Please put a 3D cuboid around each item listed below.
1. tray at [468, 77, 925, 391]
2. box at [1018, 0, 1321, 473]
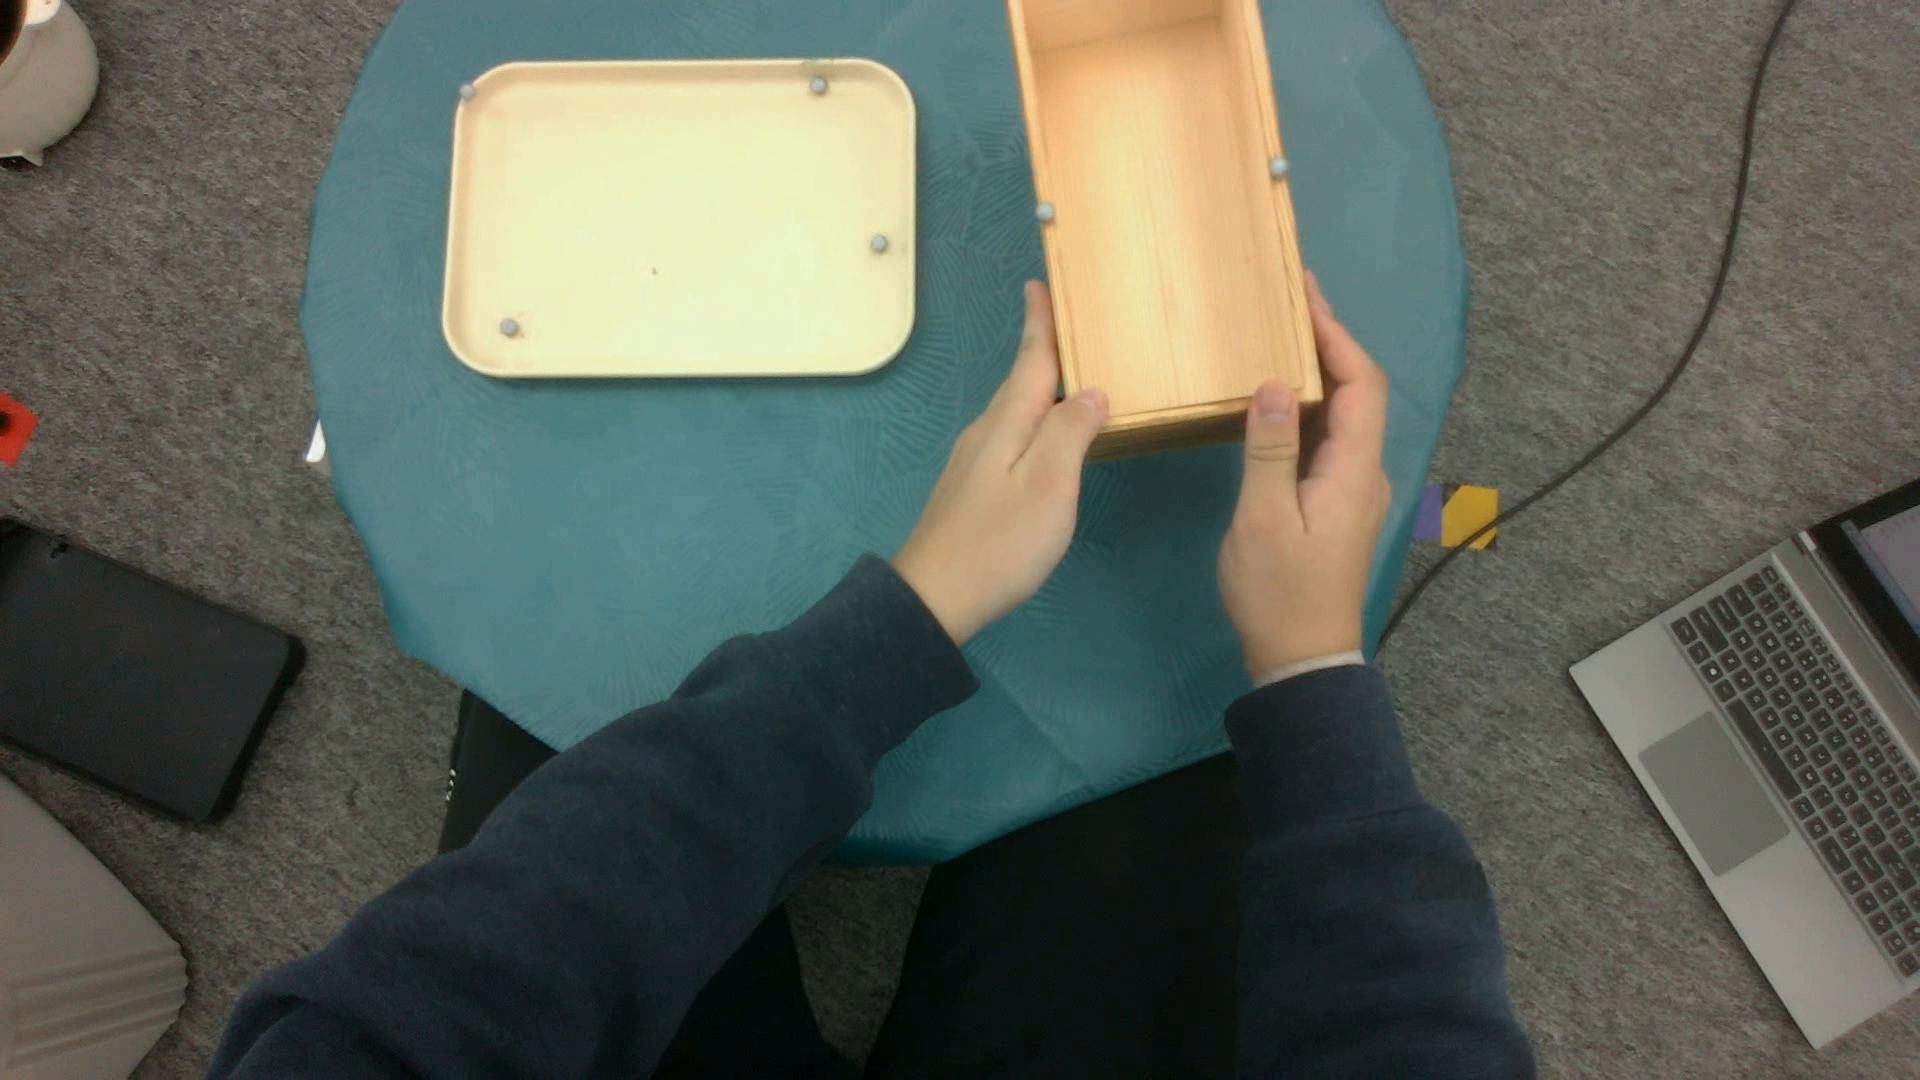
[{"bbox_3d":[-0.137,-0.161,0.729,0.239,0.017,0.171,0,80,2],"label":"tray"},{"bbox_3d":[0.095,-0.146,0.640,0.107,0.080,0.211,-8,83,6],"label":"box"}]
